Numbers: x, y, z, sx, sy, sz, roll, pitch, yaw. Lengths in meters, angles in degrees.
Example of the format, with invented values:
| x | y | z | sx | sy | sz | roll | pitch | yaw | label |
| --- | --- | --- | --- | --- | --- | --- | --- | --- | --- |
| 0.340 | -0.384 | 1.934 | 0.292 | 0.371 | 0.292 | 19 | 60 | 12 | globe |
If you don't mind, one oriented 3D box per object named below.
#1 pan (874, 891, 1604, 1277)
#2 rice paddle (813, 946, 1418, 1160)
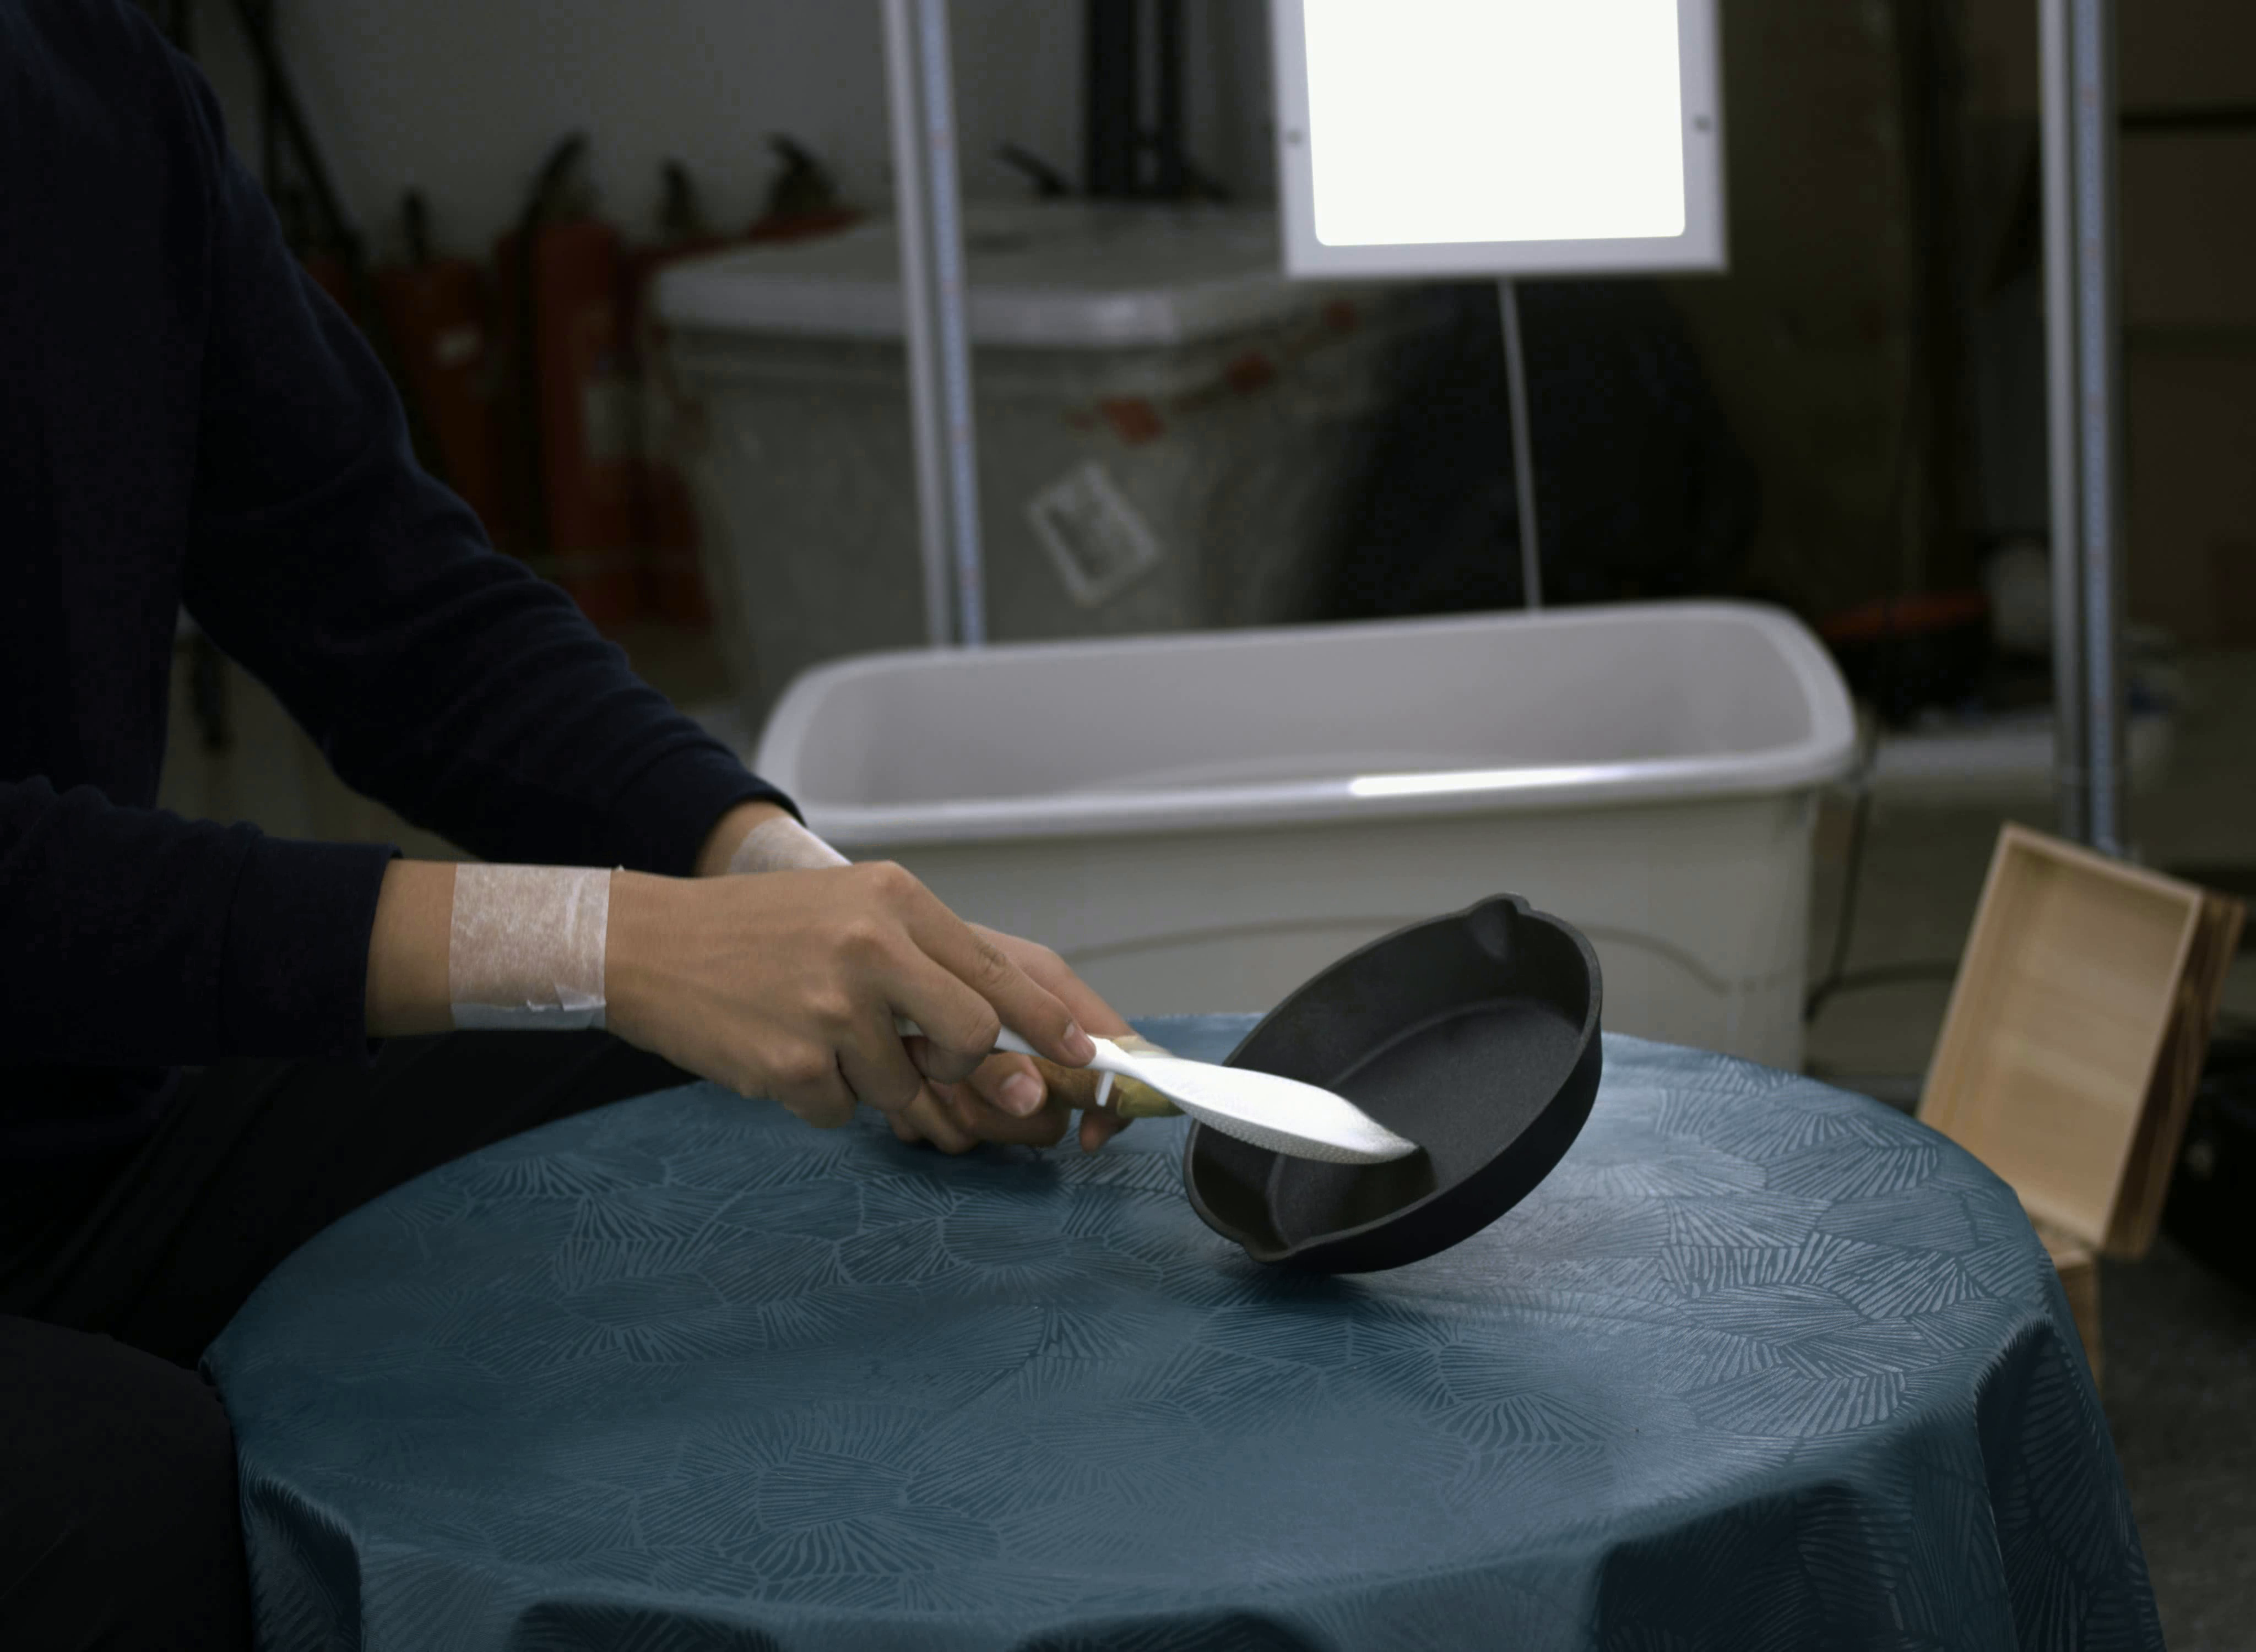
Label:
| x | y | z | sx | sy | sz | roll | pitch | yaw | label |
| --- | --- | --- | --- | --- | --- | --- | --- | --- | --- |
| 0.032 | 0.087 | 1.873 | 0.331 | 0.049 | 0.166 | 1 | 45 | 47 | pan |
| -0.001 | 0.077 | 1.803 | 0.204 | 0.029 | 0.069 | 14 | 13 | -6 | rice paddle |
